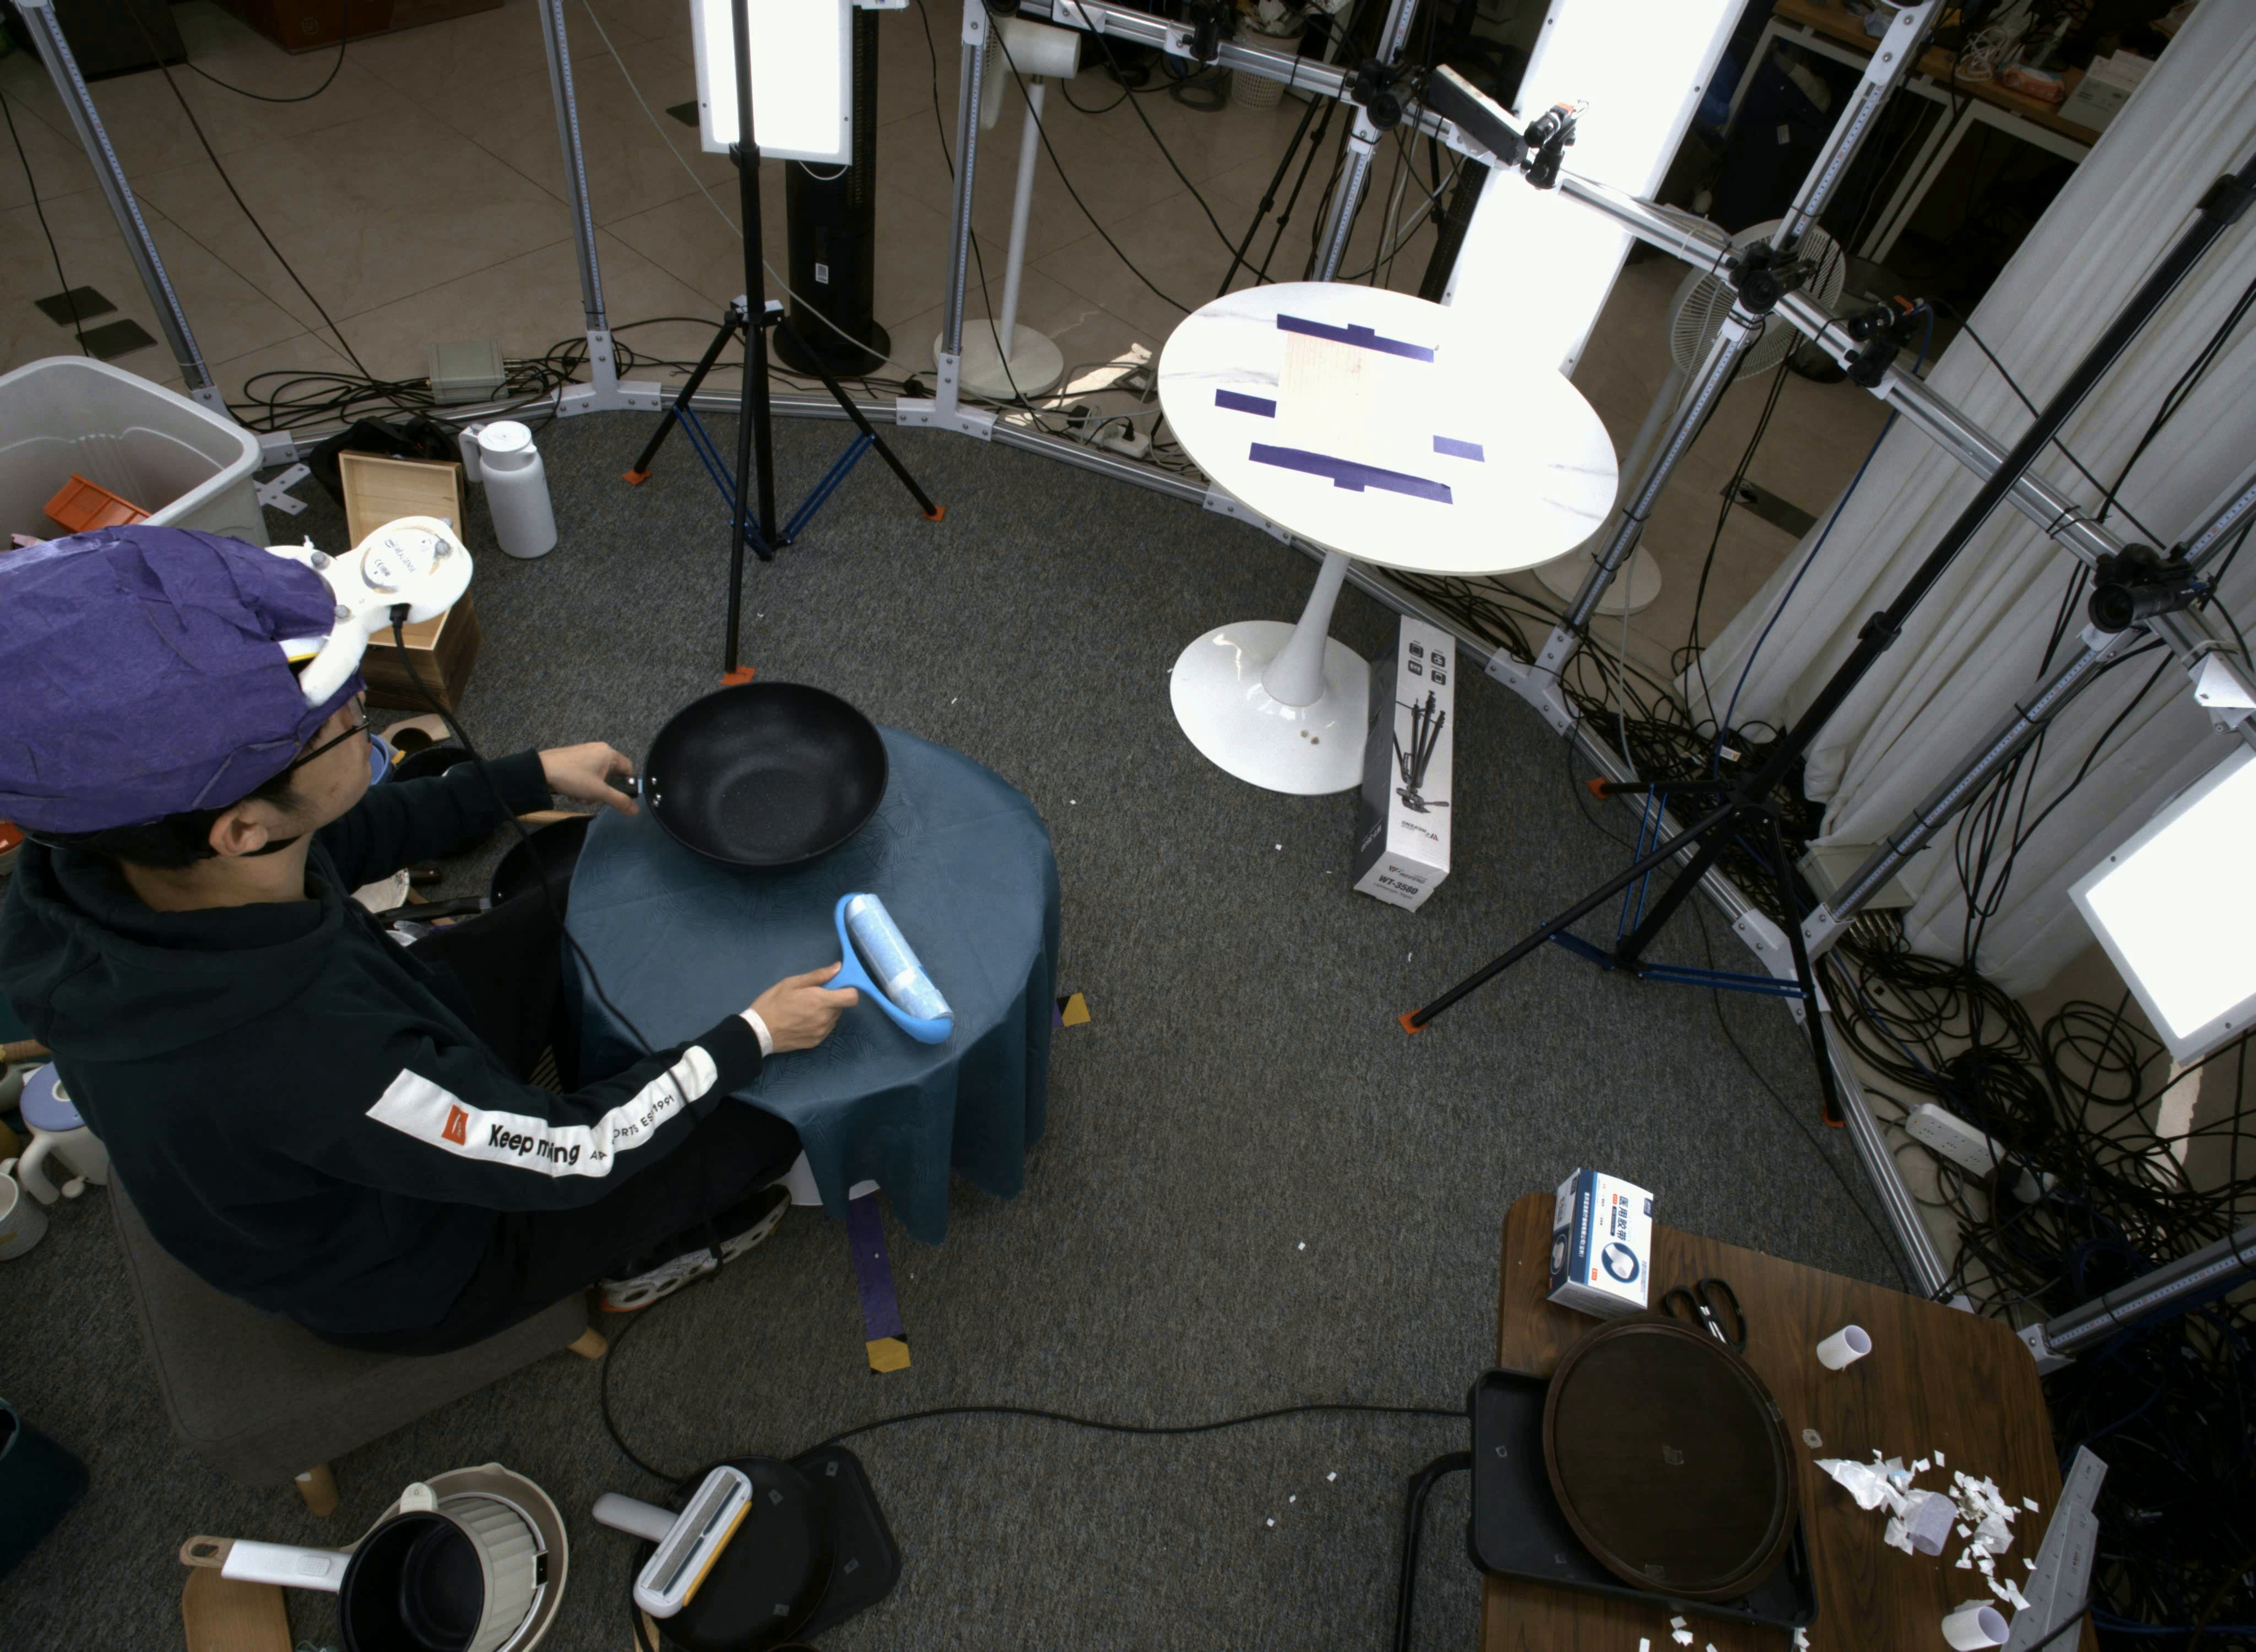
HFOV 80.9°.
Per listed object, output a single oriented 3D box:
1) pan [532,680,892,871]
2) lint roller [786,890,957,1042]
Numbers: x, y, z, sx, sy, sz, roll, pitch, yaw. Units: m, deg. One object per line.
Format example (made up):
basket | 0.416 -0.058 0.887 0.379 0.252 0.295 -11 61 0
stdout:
pan | -0.542 -0.049 1.666 0.478 0.114 0.302 -8 54 -17
lint roller | -0.327 0.190 1.555 0.181 0.069 0.224 -29 69 -30
